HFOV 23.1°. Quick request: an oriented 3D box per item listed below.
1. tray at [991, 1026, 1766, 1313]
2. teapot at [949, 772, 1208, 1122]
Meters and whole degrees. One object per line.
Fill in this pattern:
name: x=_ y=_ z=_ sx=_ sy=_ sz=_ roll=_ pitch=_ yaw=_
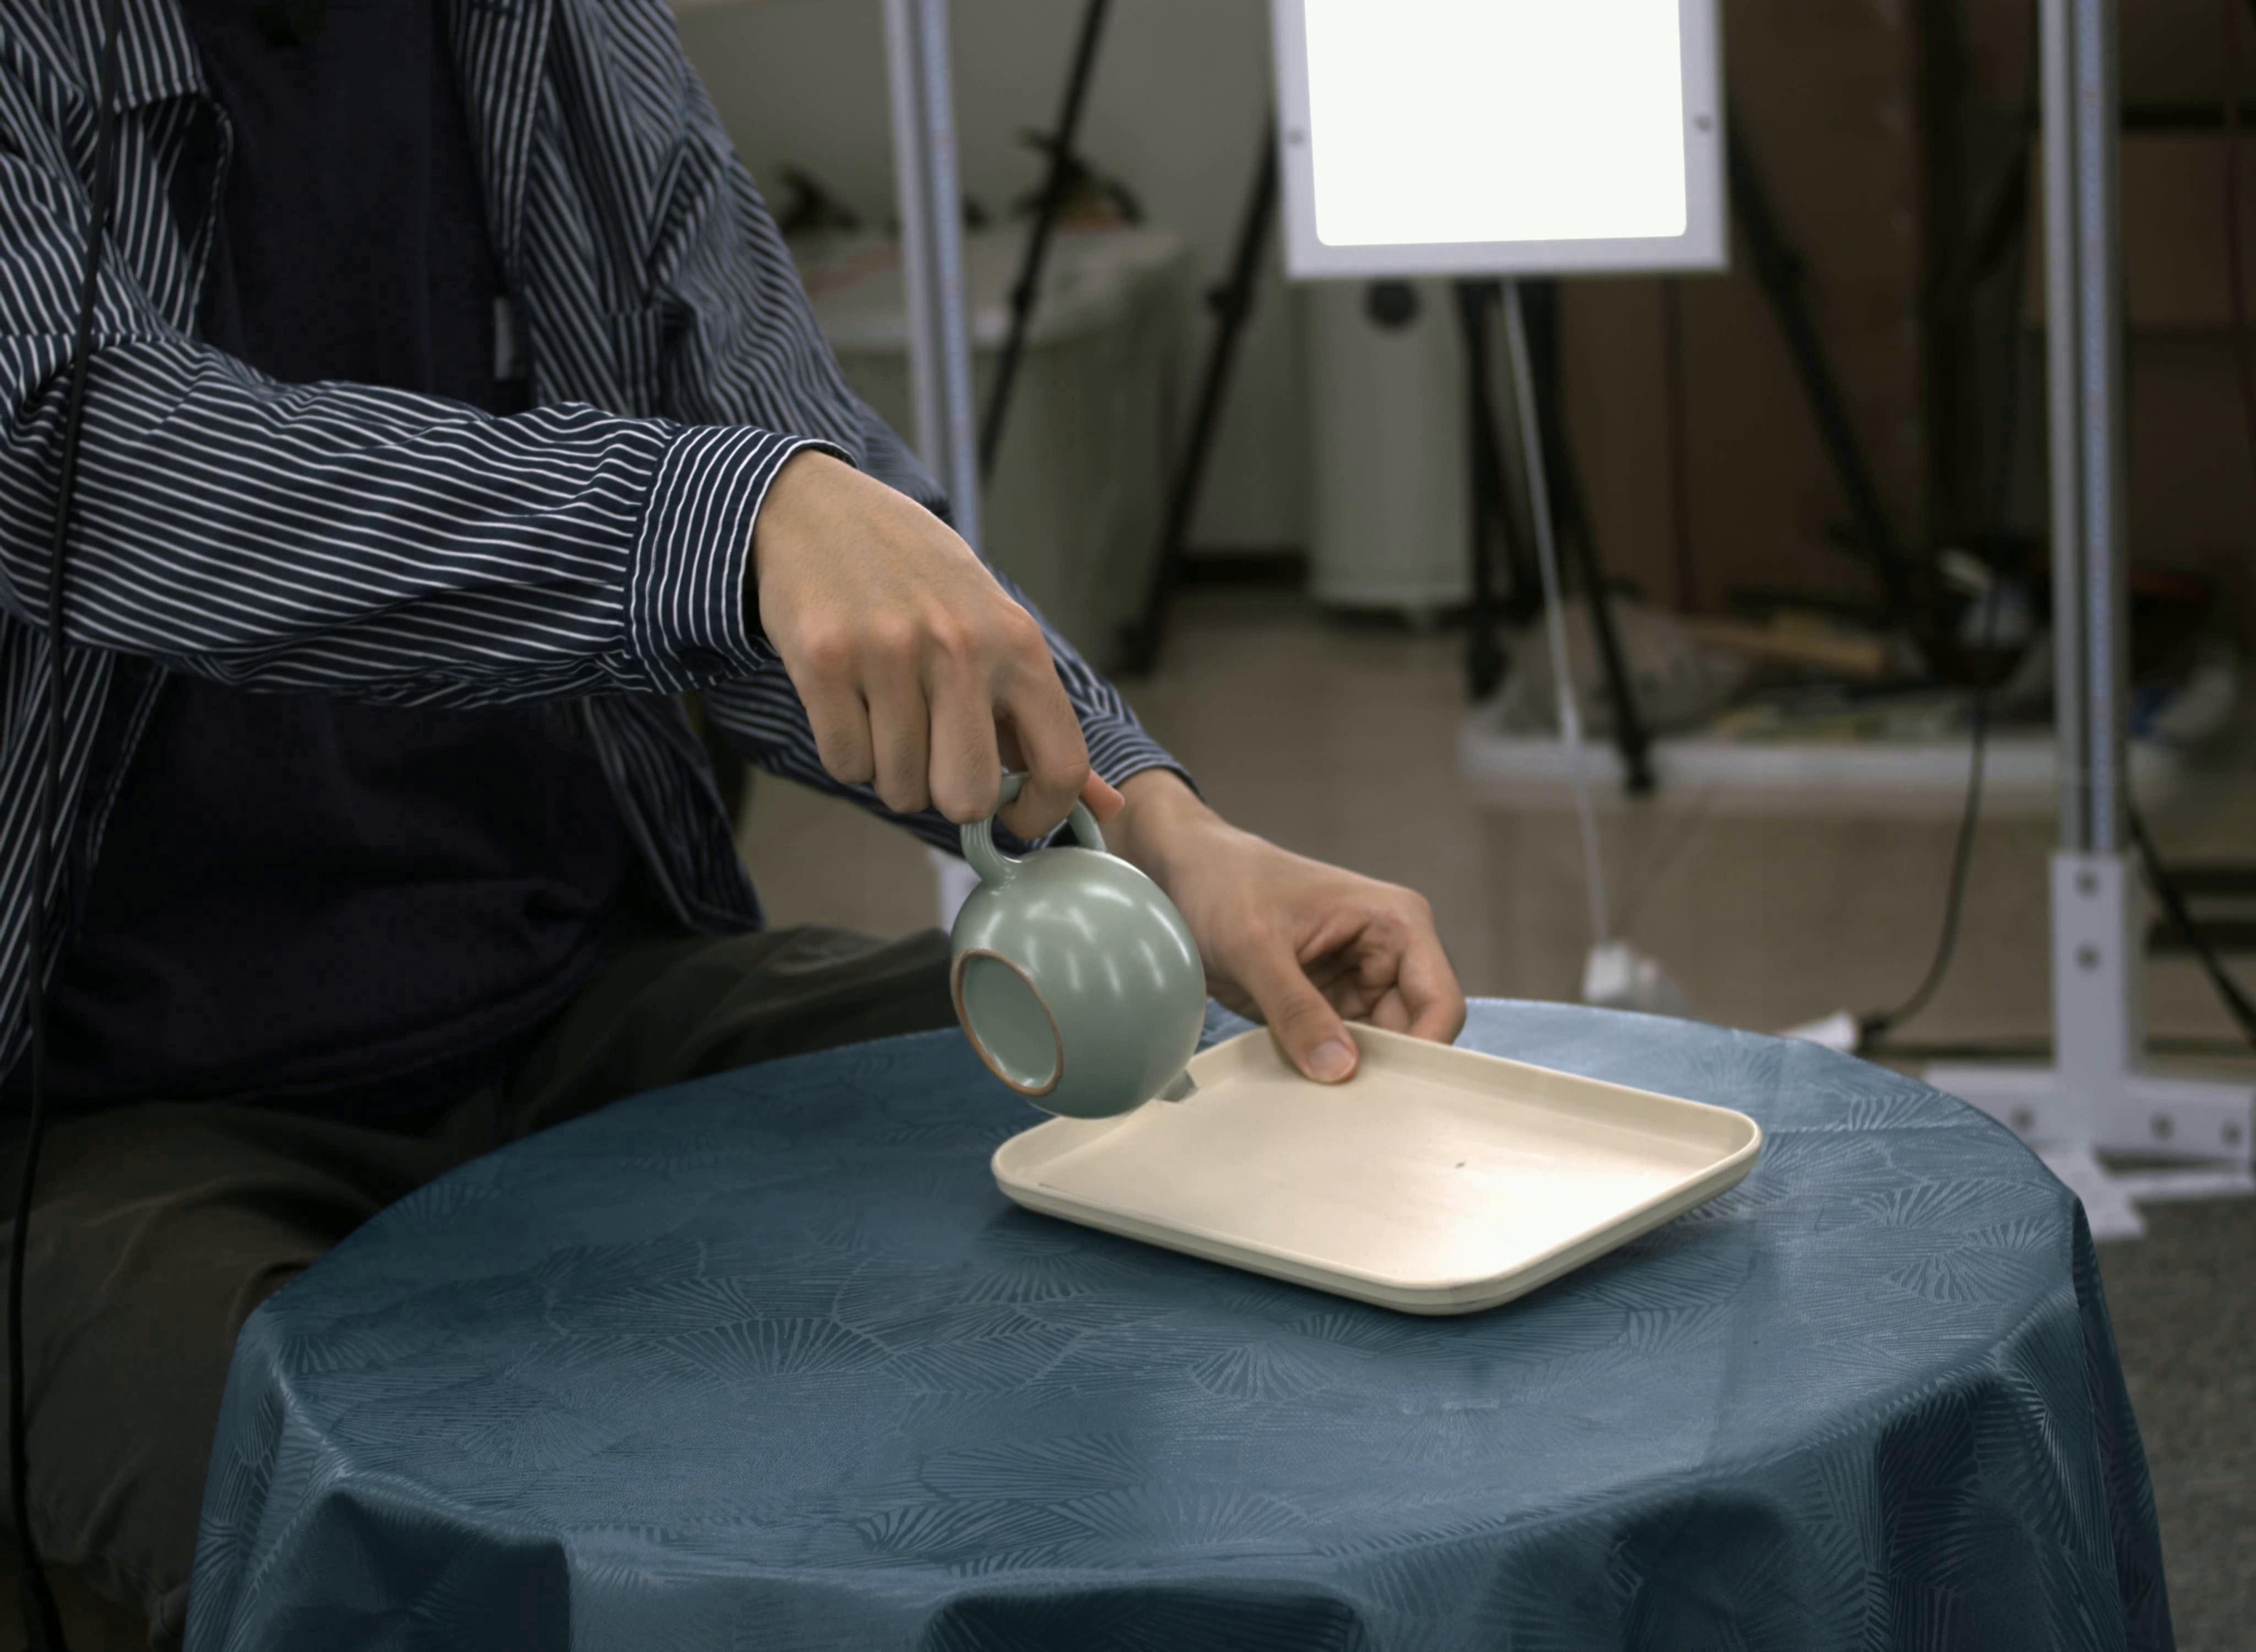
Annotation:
tray: x=0.083 y=0.114 z=1.851 sx=0.167 sy=0.017 sz=0.245 roll=-21 pitch=21 yaw=-38
teapot: x=-0.021 y=0.043 z=1.784 sx=0.059 sy=0.128 sz=0.093 roll=-30 pitch=12 yaw=-30
